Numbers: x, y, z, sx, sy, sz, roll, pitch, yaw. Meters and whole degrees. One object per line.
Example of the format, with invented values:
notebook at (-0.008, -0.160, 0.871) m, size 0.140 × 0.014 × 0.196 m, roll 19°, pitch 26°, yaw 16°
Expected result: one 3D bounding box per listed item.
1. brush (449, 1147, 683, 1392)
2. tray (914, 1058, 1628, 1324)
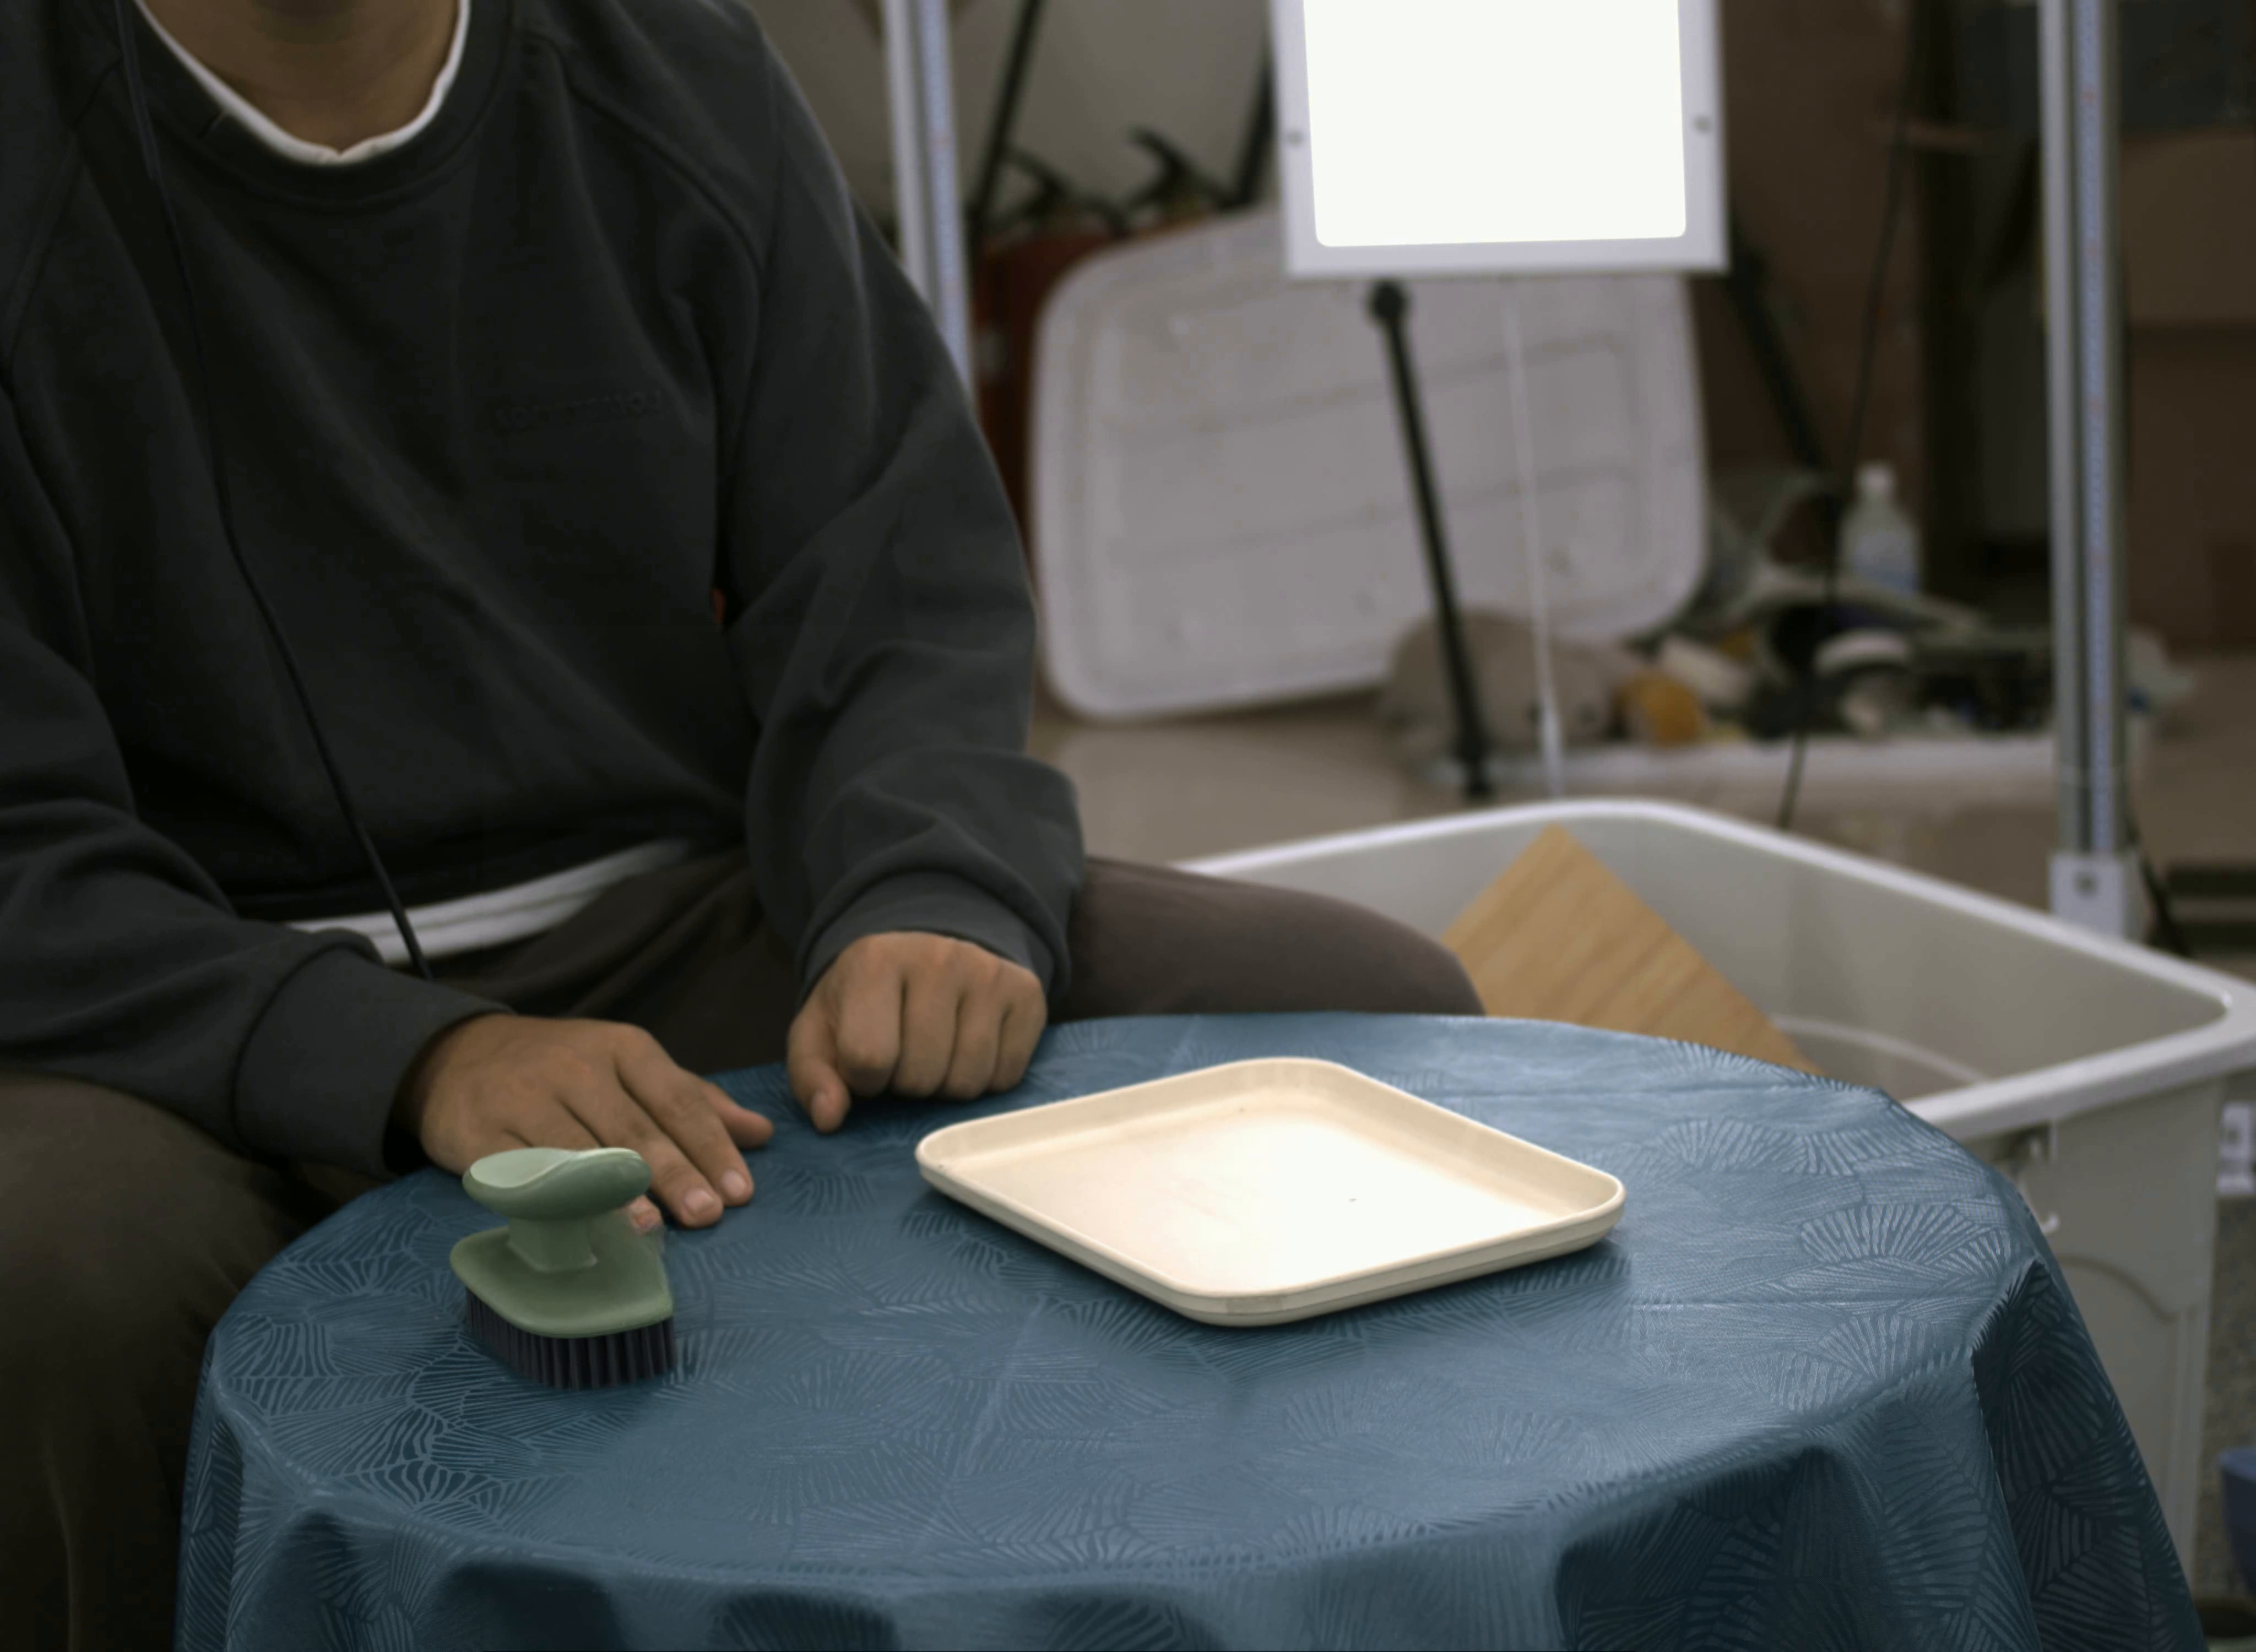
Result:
brush at (-0.182, 0.142, 1.789) m, size 0.058 × 0.076 × 0.125 m, roll -9°, pitch 0°, yaw -22°
tray at (0.046, 0.122, 1.861) m, size 0.168 × 0.017 × 0.244 m, roll -11°, pitch 14°, yaw -25°
